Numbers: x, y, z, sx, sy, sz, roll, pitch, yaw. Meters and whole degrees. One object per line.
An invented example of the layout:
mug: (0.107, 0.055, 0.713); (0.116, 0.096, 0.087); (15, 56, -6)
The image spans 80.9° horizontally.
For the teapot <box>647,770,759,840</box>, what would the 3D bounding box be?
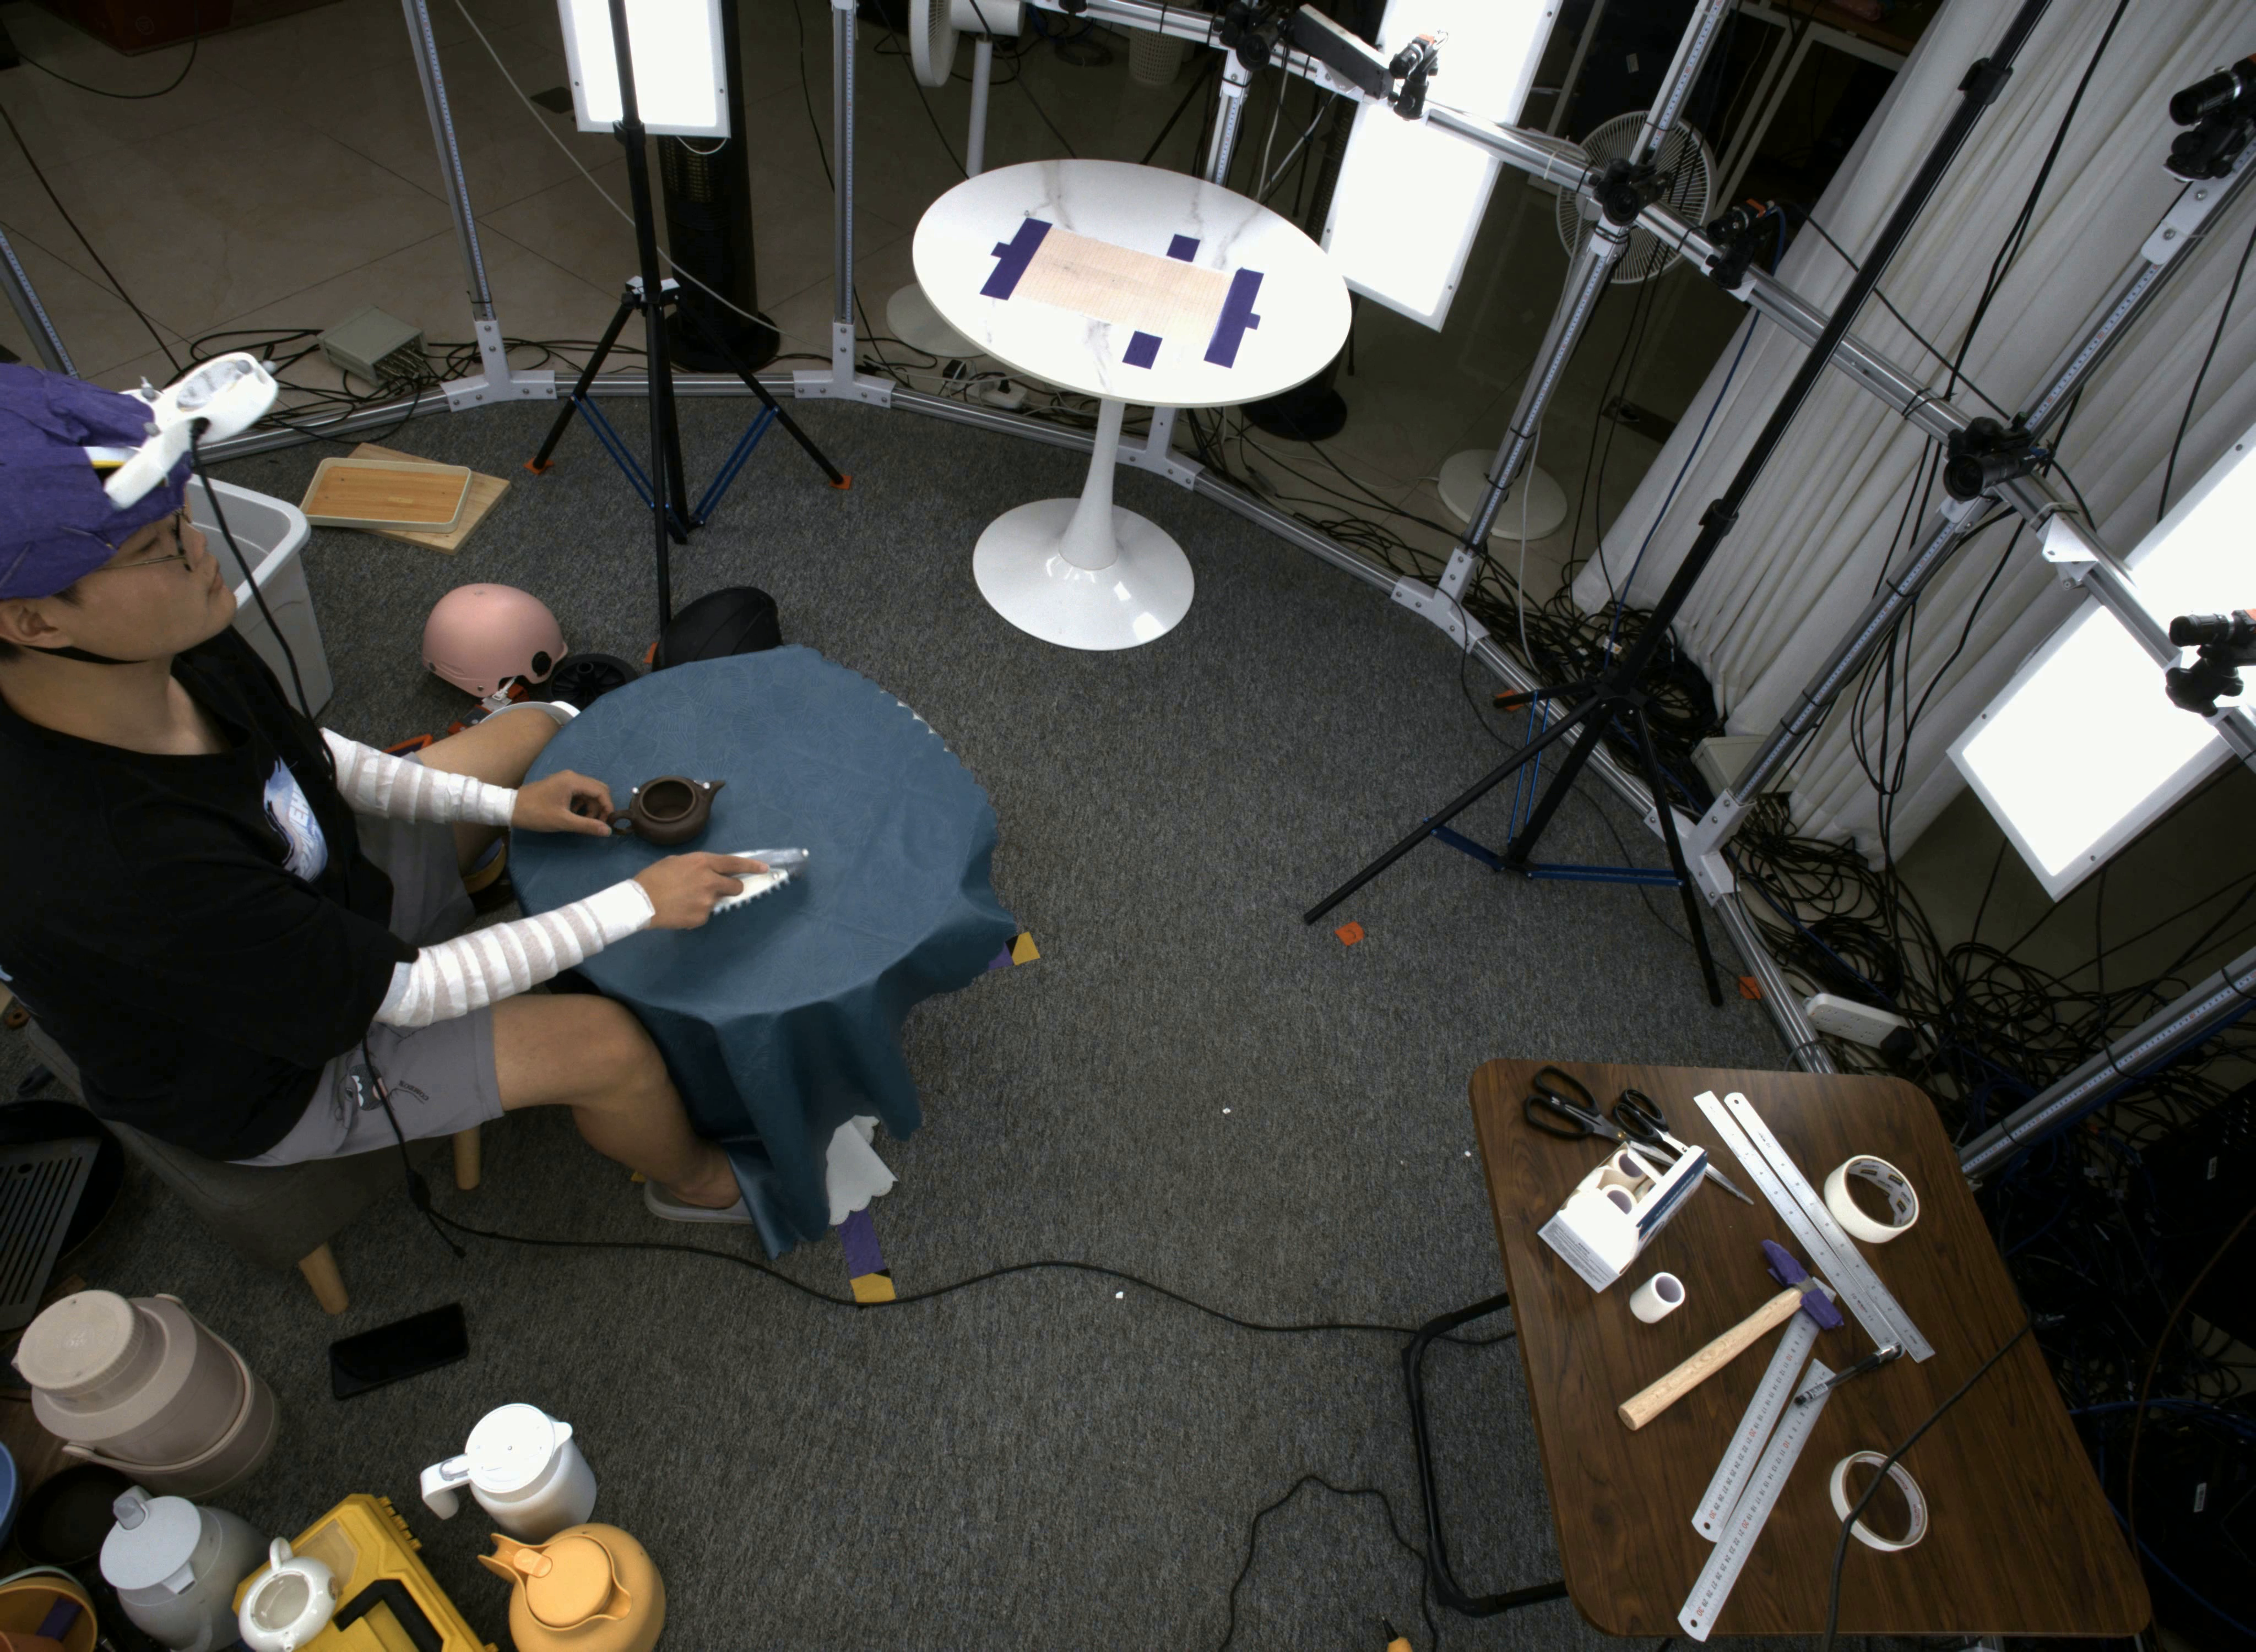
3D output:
teapot: (-0.555, -0.028, 1.688); (0.154, 0.055, 0.100); (-22, 60, -27)

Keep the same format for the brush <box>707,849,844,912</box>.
brush: (-0.437, 0.053, 1.624); (0.176, 0.094, 0.061); (-13, 77, -25)
